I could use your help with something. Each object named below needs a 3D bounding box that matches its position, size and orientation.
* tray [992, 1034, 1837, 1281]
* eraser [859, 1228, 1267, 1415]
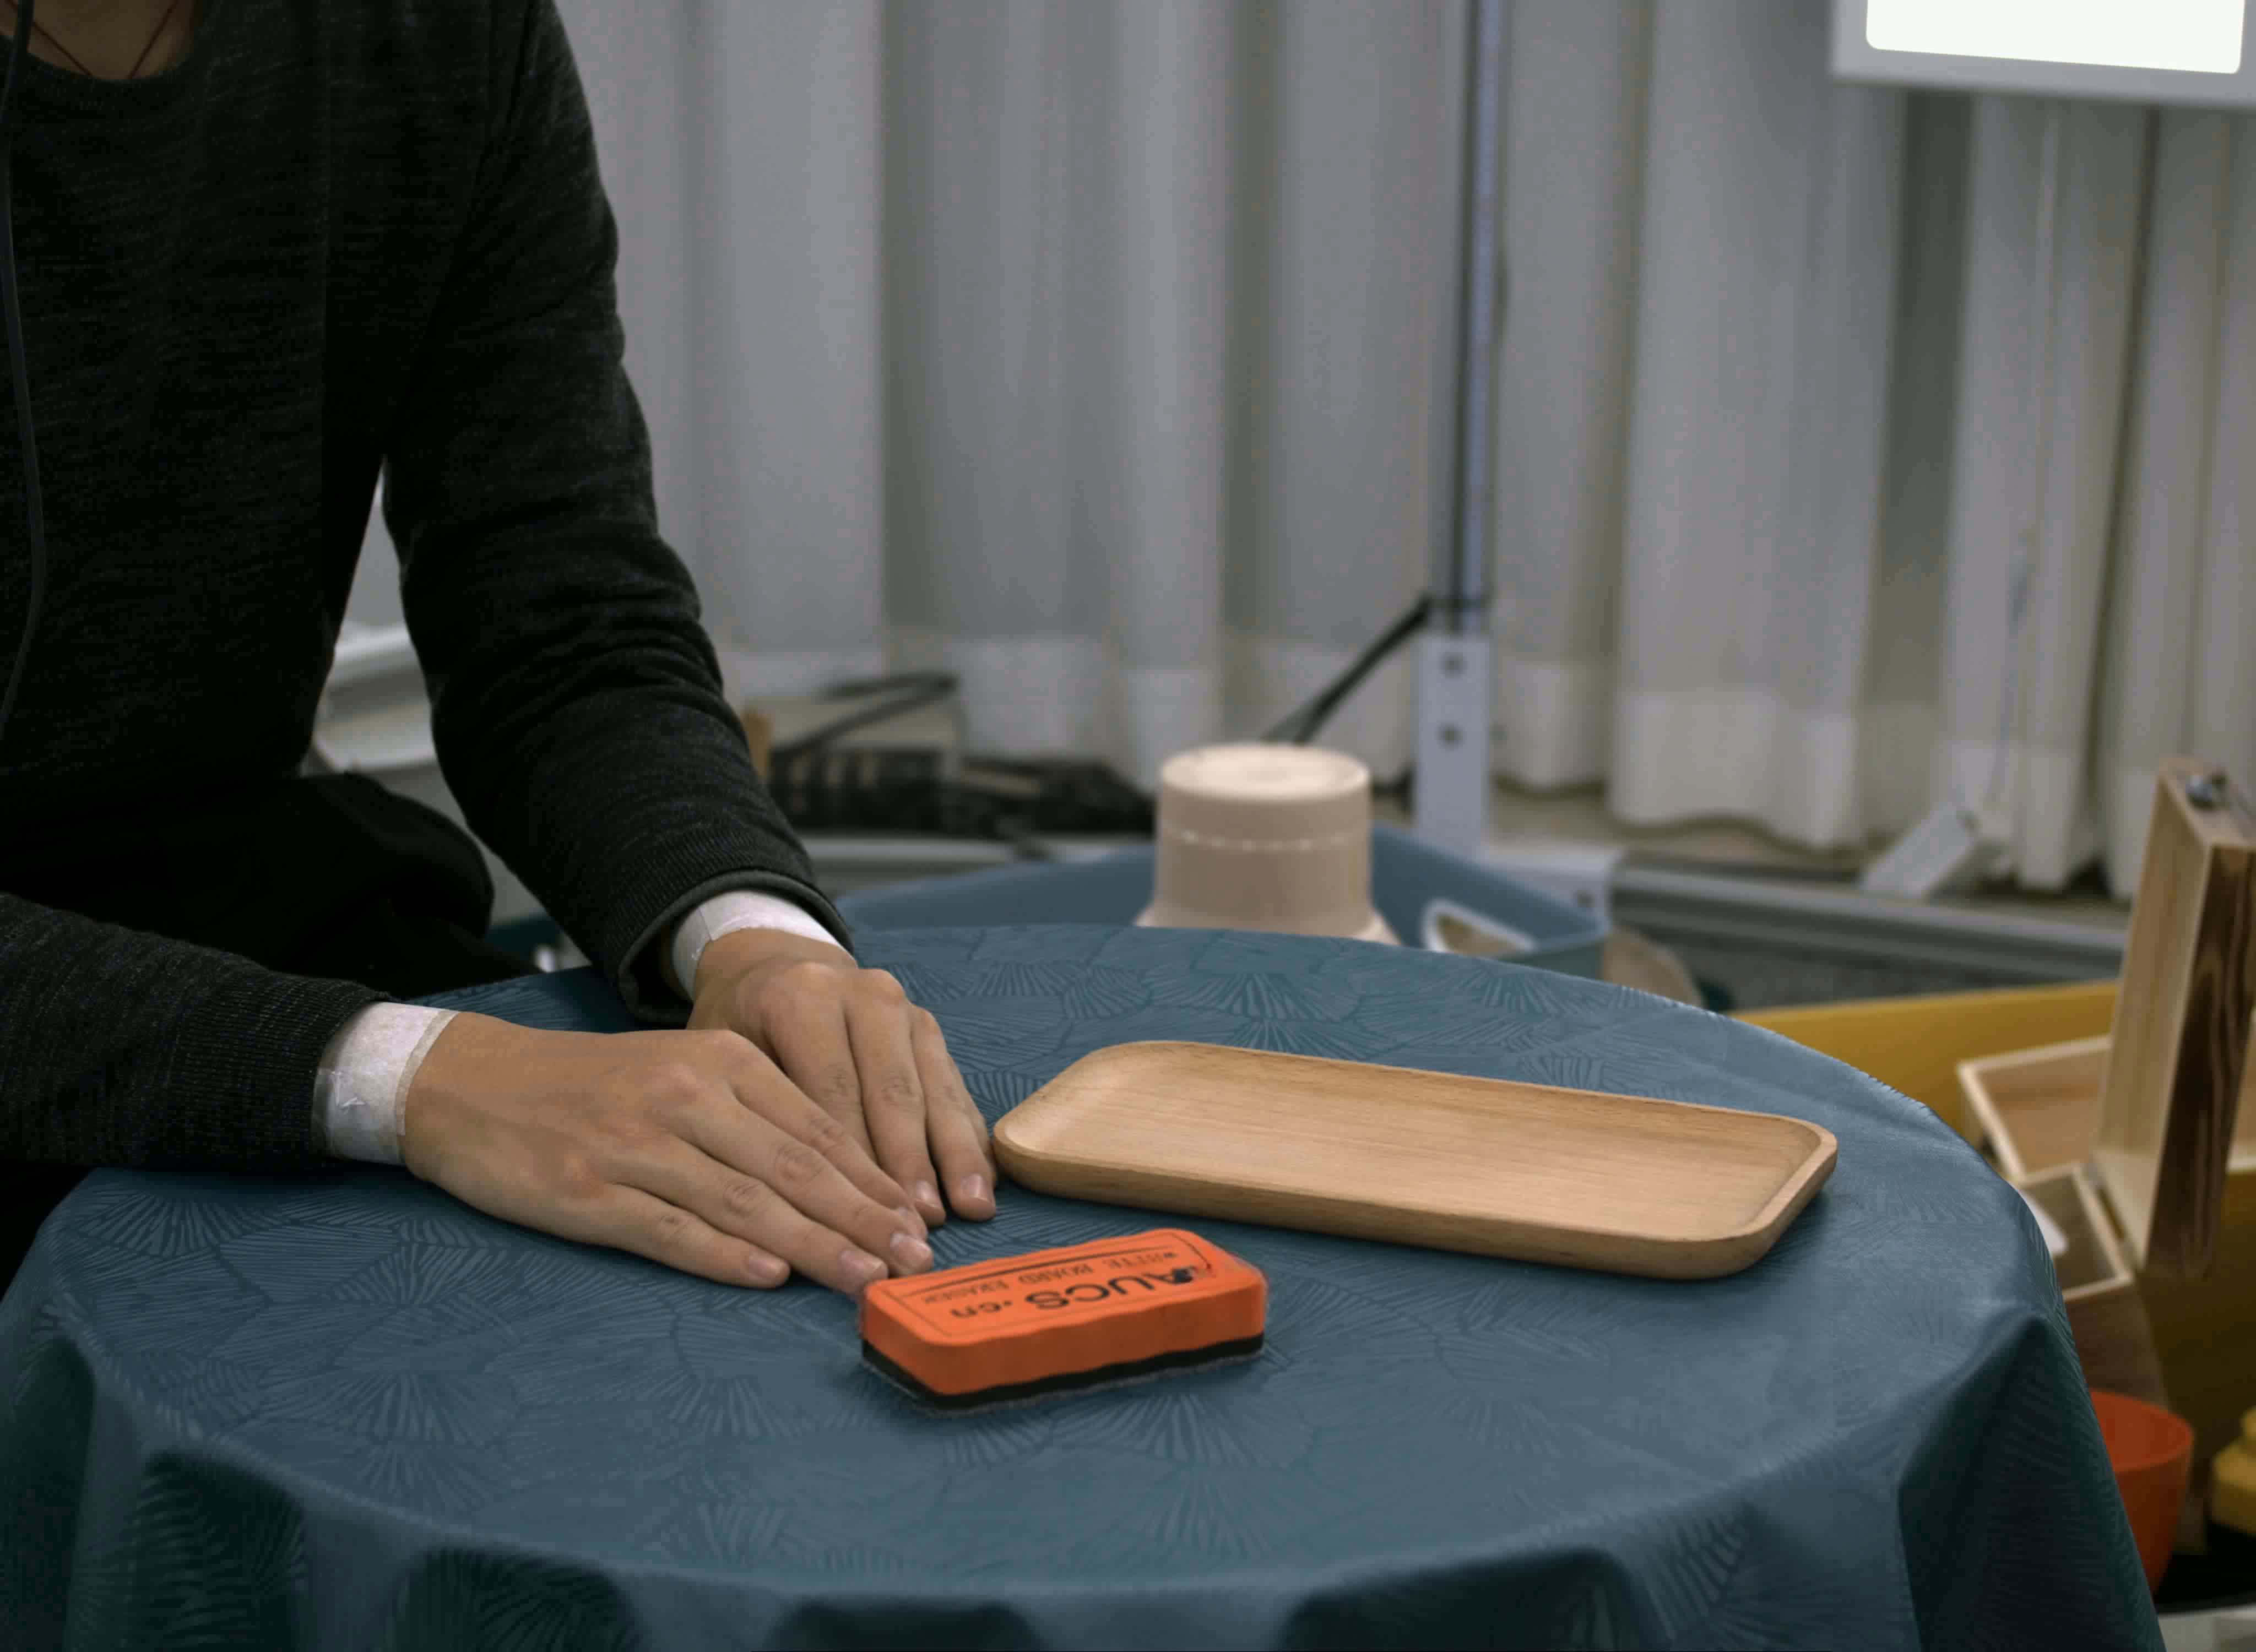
[{"bbox_3d":[0.088,0.101,1.631,0.248,0.023,0.131,6,14,22],"label":"tray"},{"bbox_3d":[-0.018,0.138,1.480,0.108,0.023,0.058,-8,17,-27],"label":"eraser"}]
